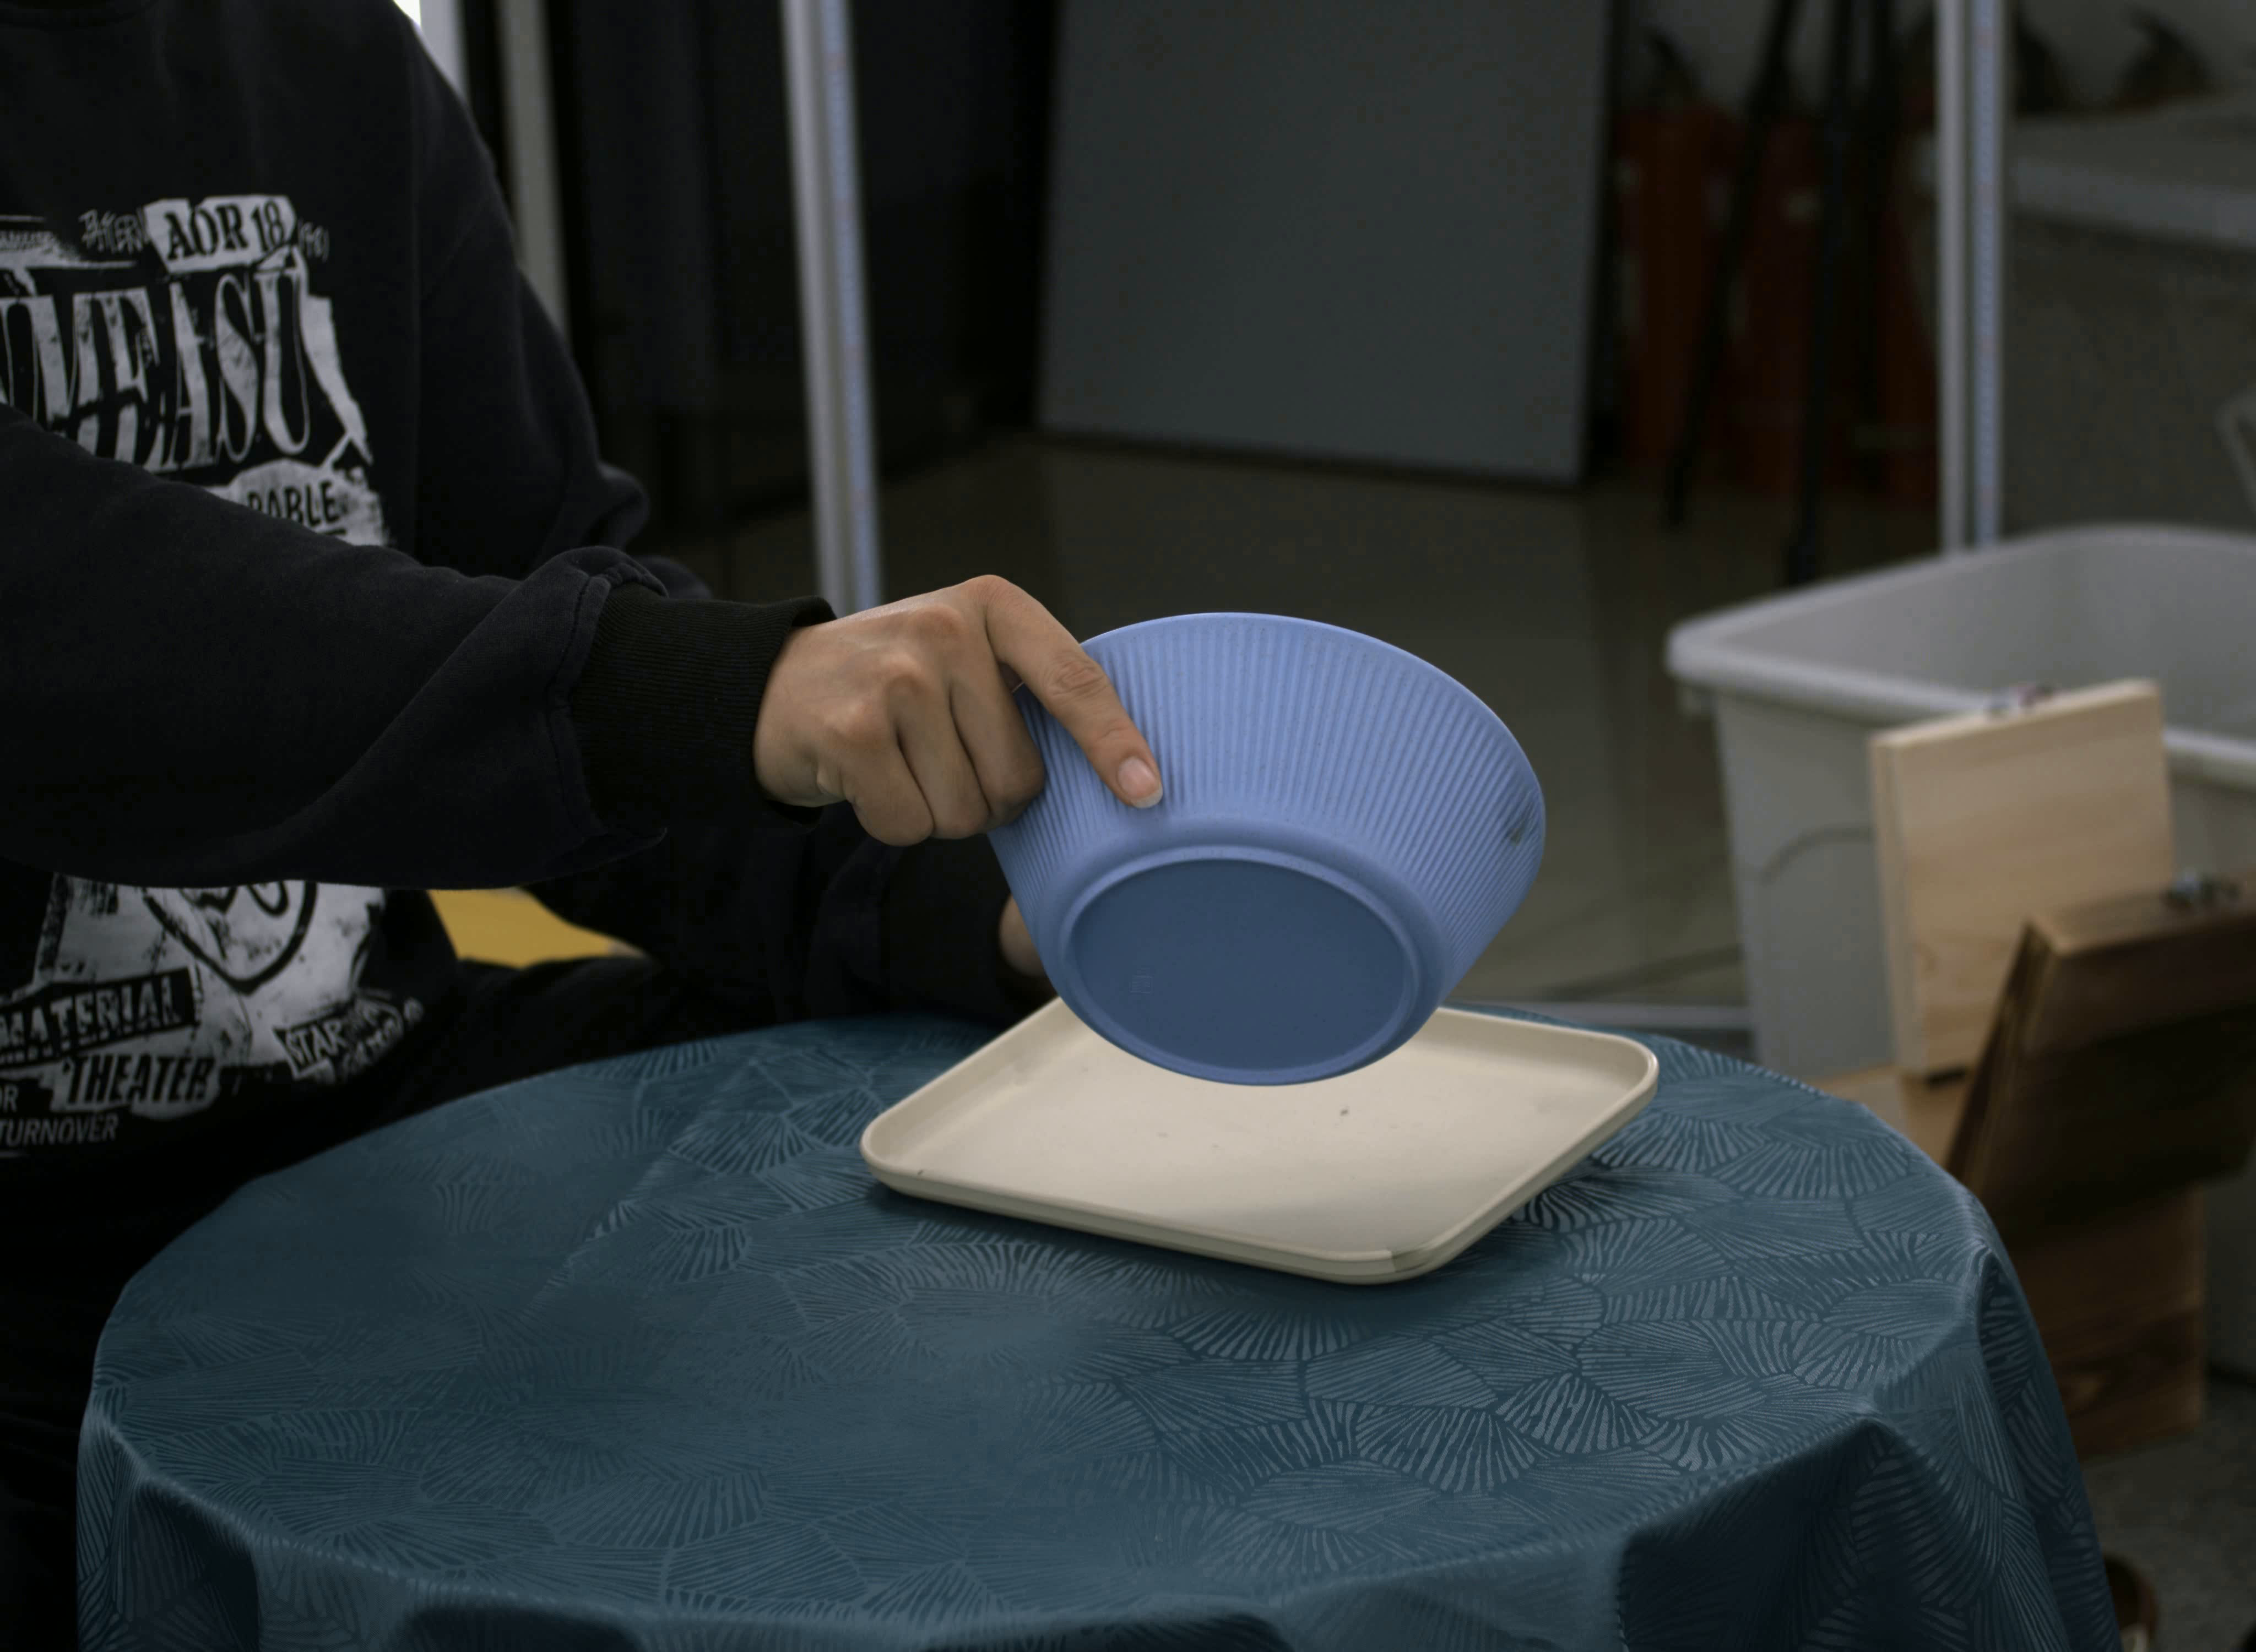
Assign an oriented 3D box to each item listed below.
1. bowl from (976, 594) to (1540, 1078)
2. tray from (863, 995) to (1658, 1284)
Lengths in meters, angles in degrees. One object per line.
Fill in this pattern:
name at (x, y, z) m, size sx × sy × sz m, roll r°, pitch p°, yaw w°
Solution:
bowl at (0.036, 0.015, 1.624) m, size 0.175 × 0.176 × 0.071 m, roll 0°, pitch 48°, yaw 11°
tray at (0.043, 0.098, 1.771) m, size 0.241 × 0.017 × 0.168 m, roll 7°, pitch 26°, yaw 39°
